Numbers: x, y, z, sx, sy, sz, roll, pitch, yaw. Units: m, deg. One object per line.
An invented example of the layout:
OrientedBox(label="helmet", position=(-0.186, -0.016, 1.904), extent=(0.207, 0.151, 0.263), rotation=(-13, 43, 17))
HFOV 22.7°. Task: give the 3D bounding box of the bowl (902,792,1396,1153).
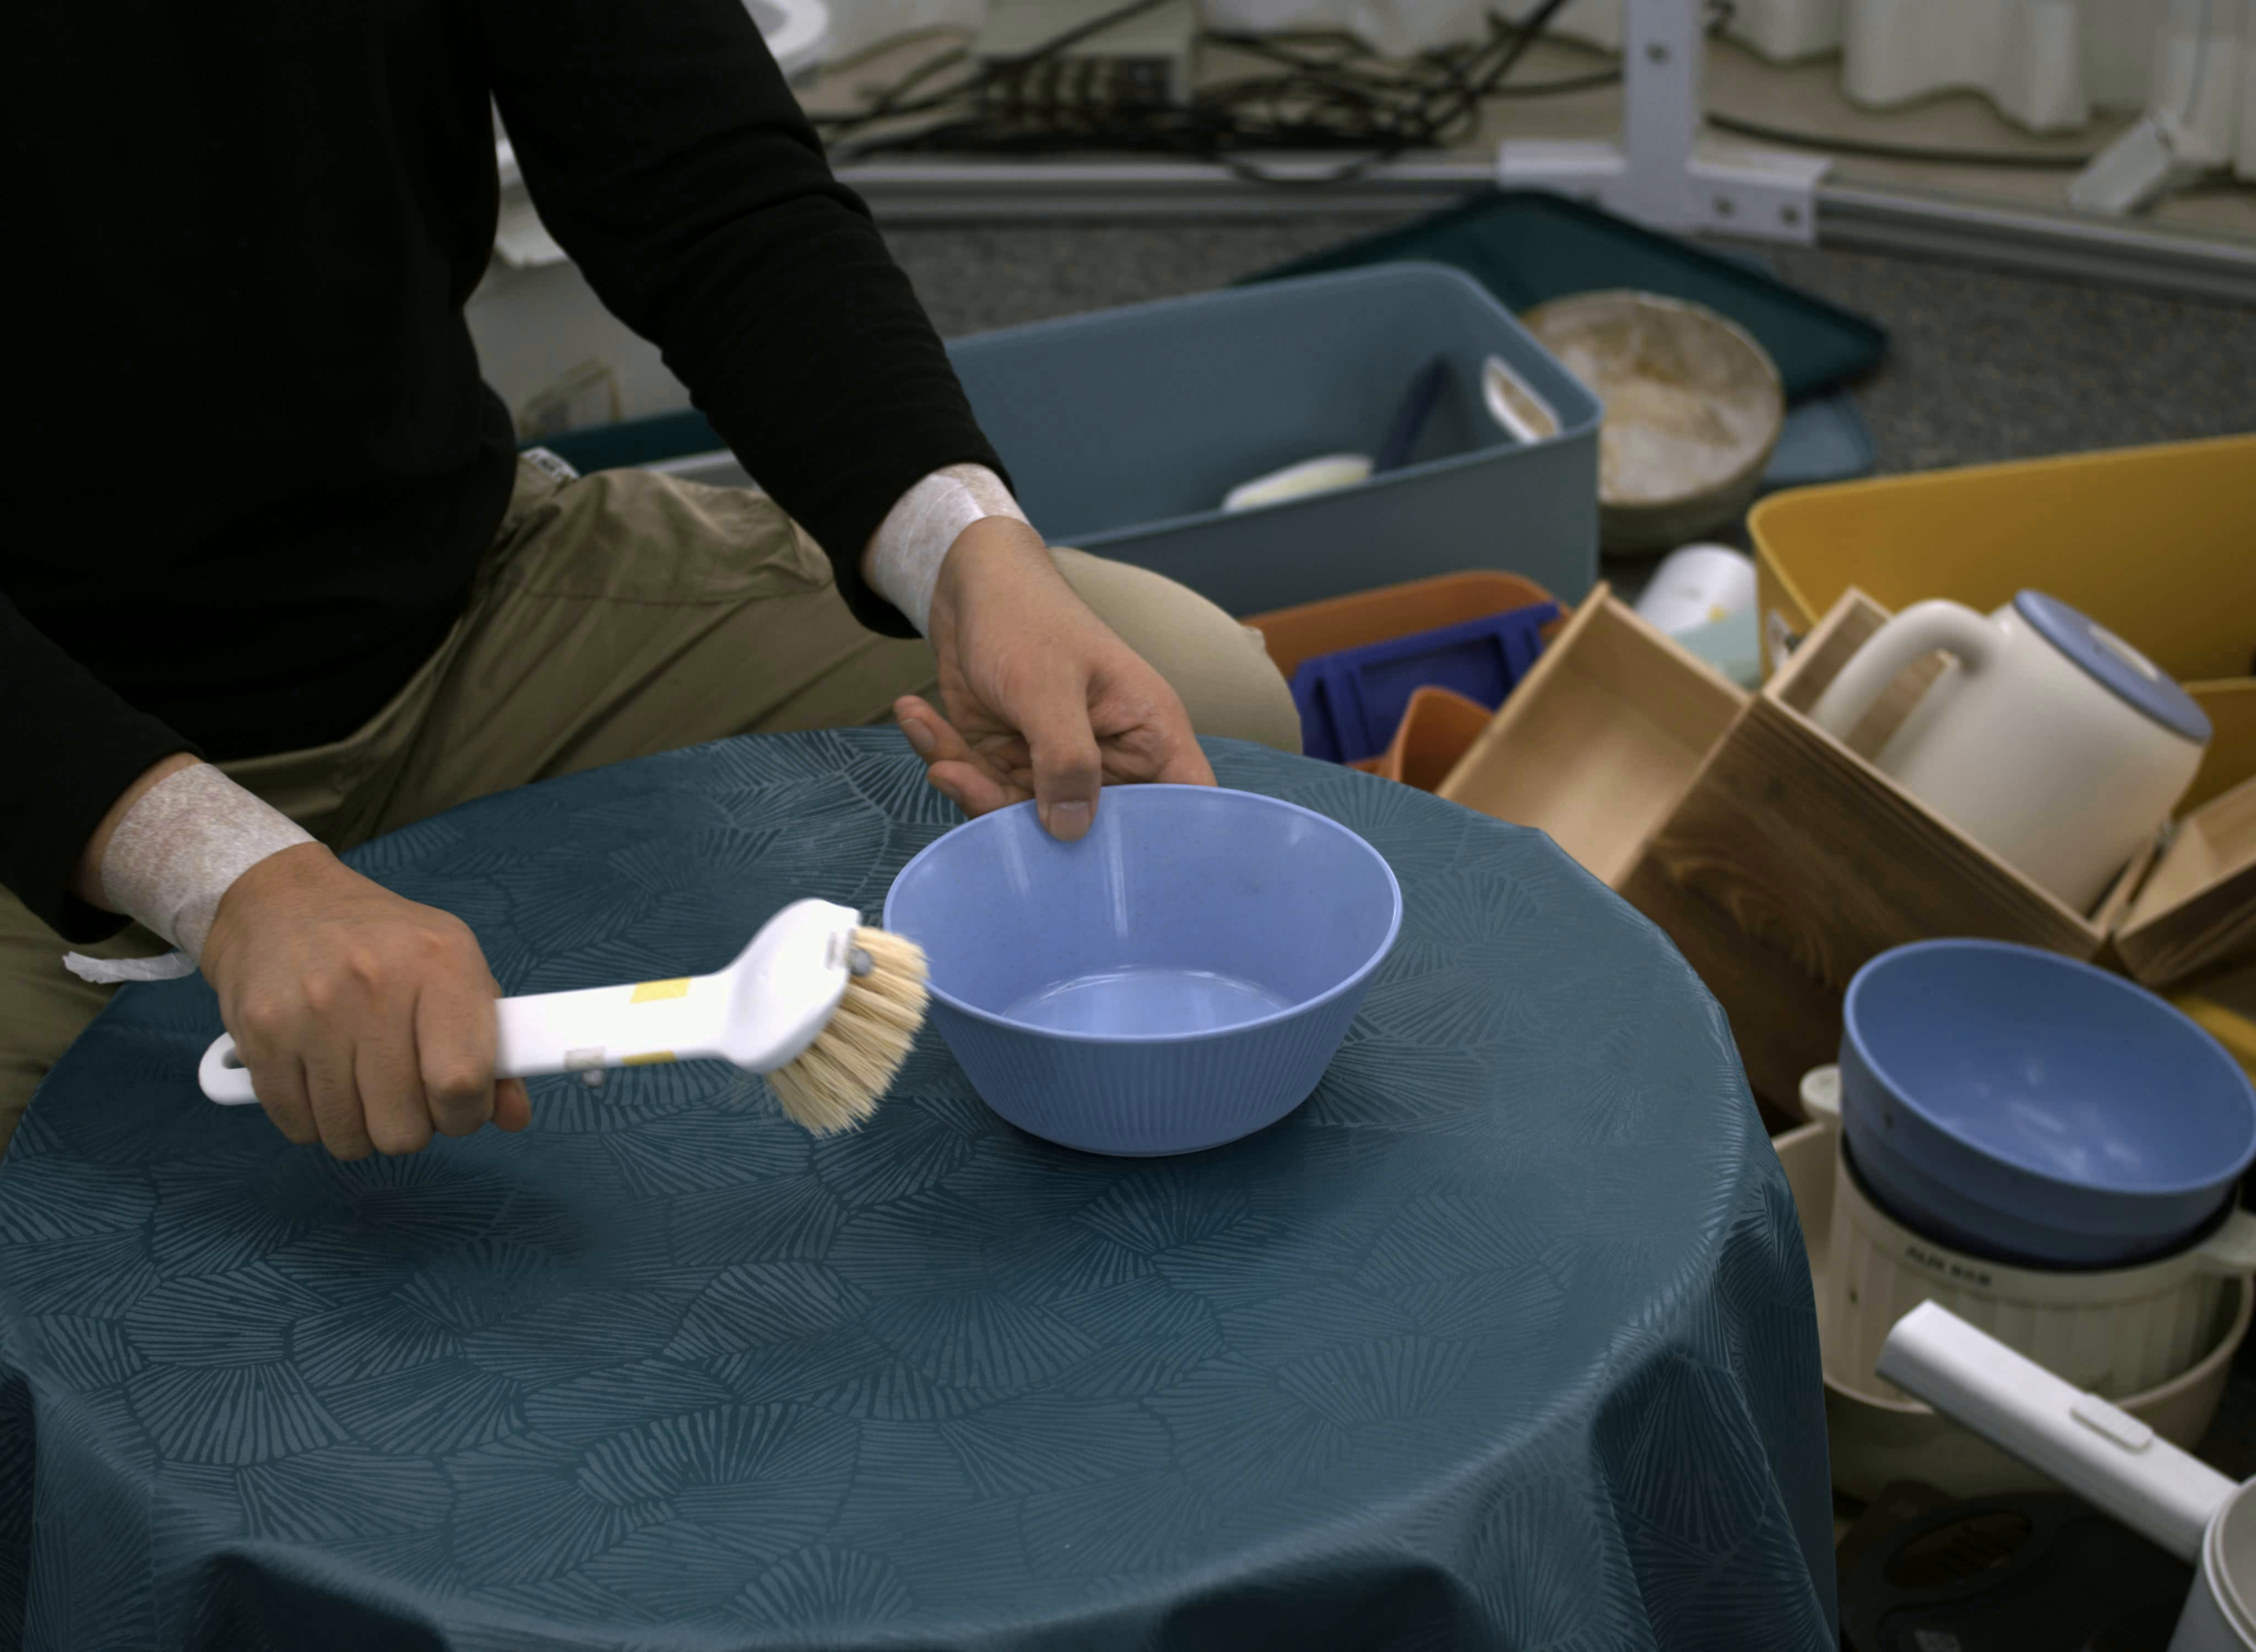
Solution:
OrientedBox(label="bowl", position=(0.003, 0.055, 1.910), extent=(0.175, 0.069, 0.178), rotation=(-1, 26, 1))

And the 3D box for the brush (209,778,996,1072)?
OrientedBox(label="brush", position=(-0.171, 0.051, 1.856), extent=(0.265, 0.055, 0.069), rotation=(-18, 34, 6))
